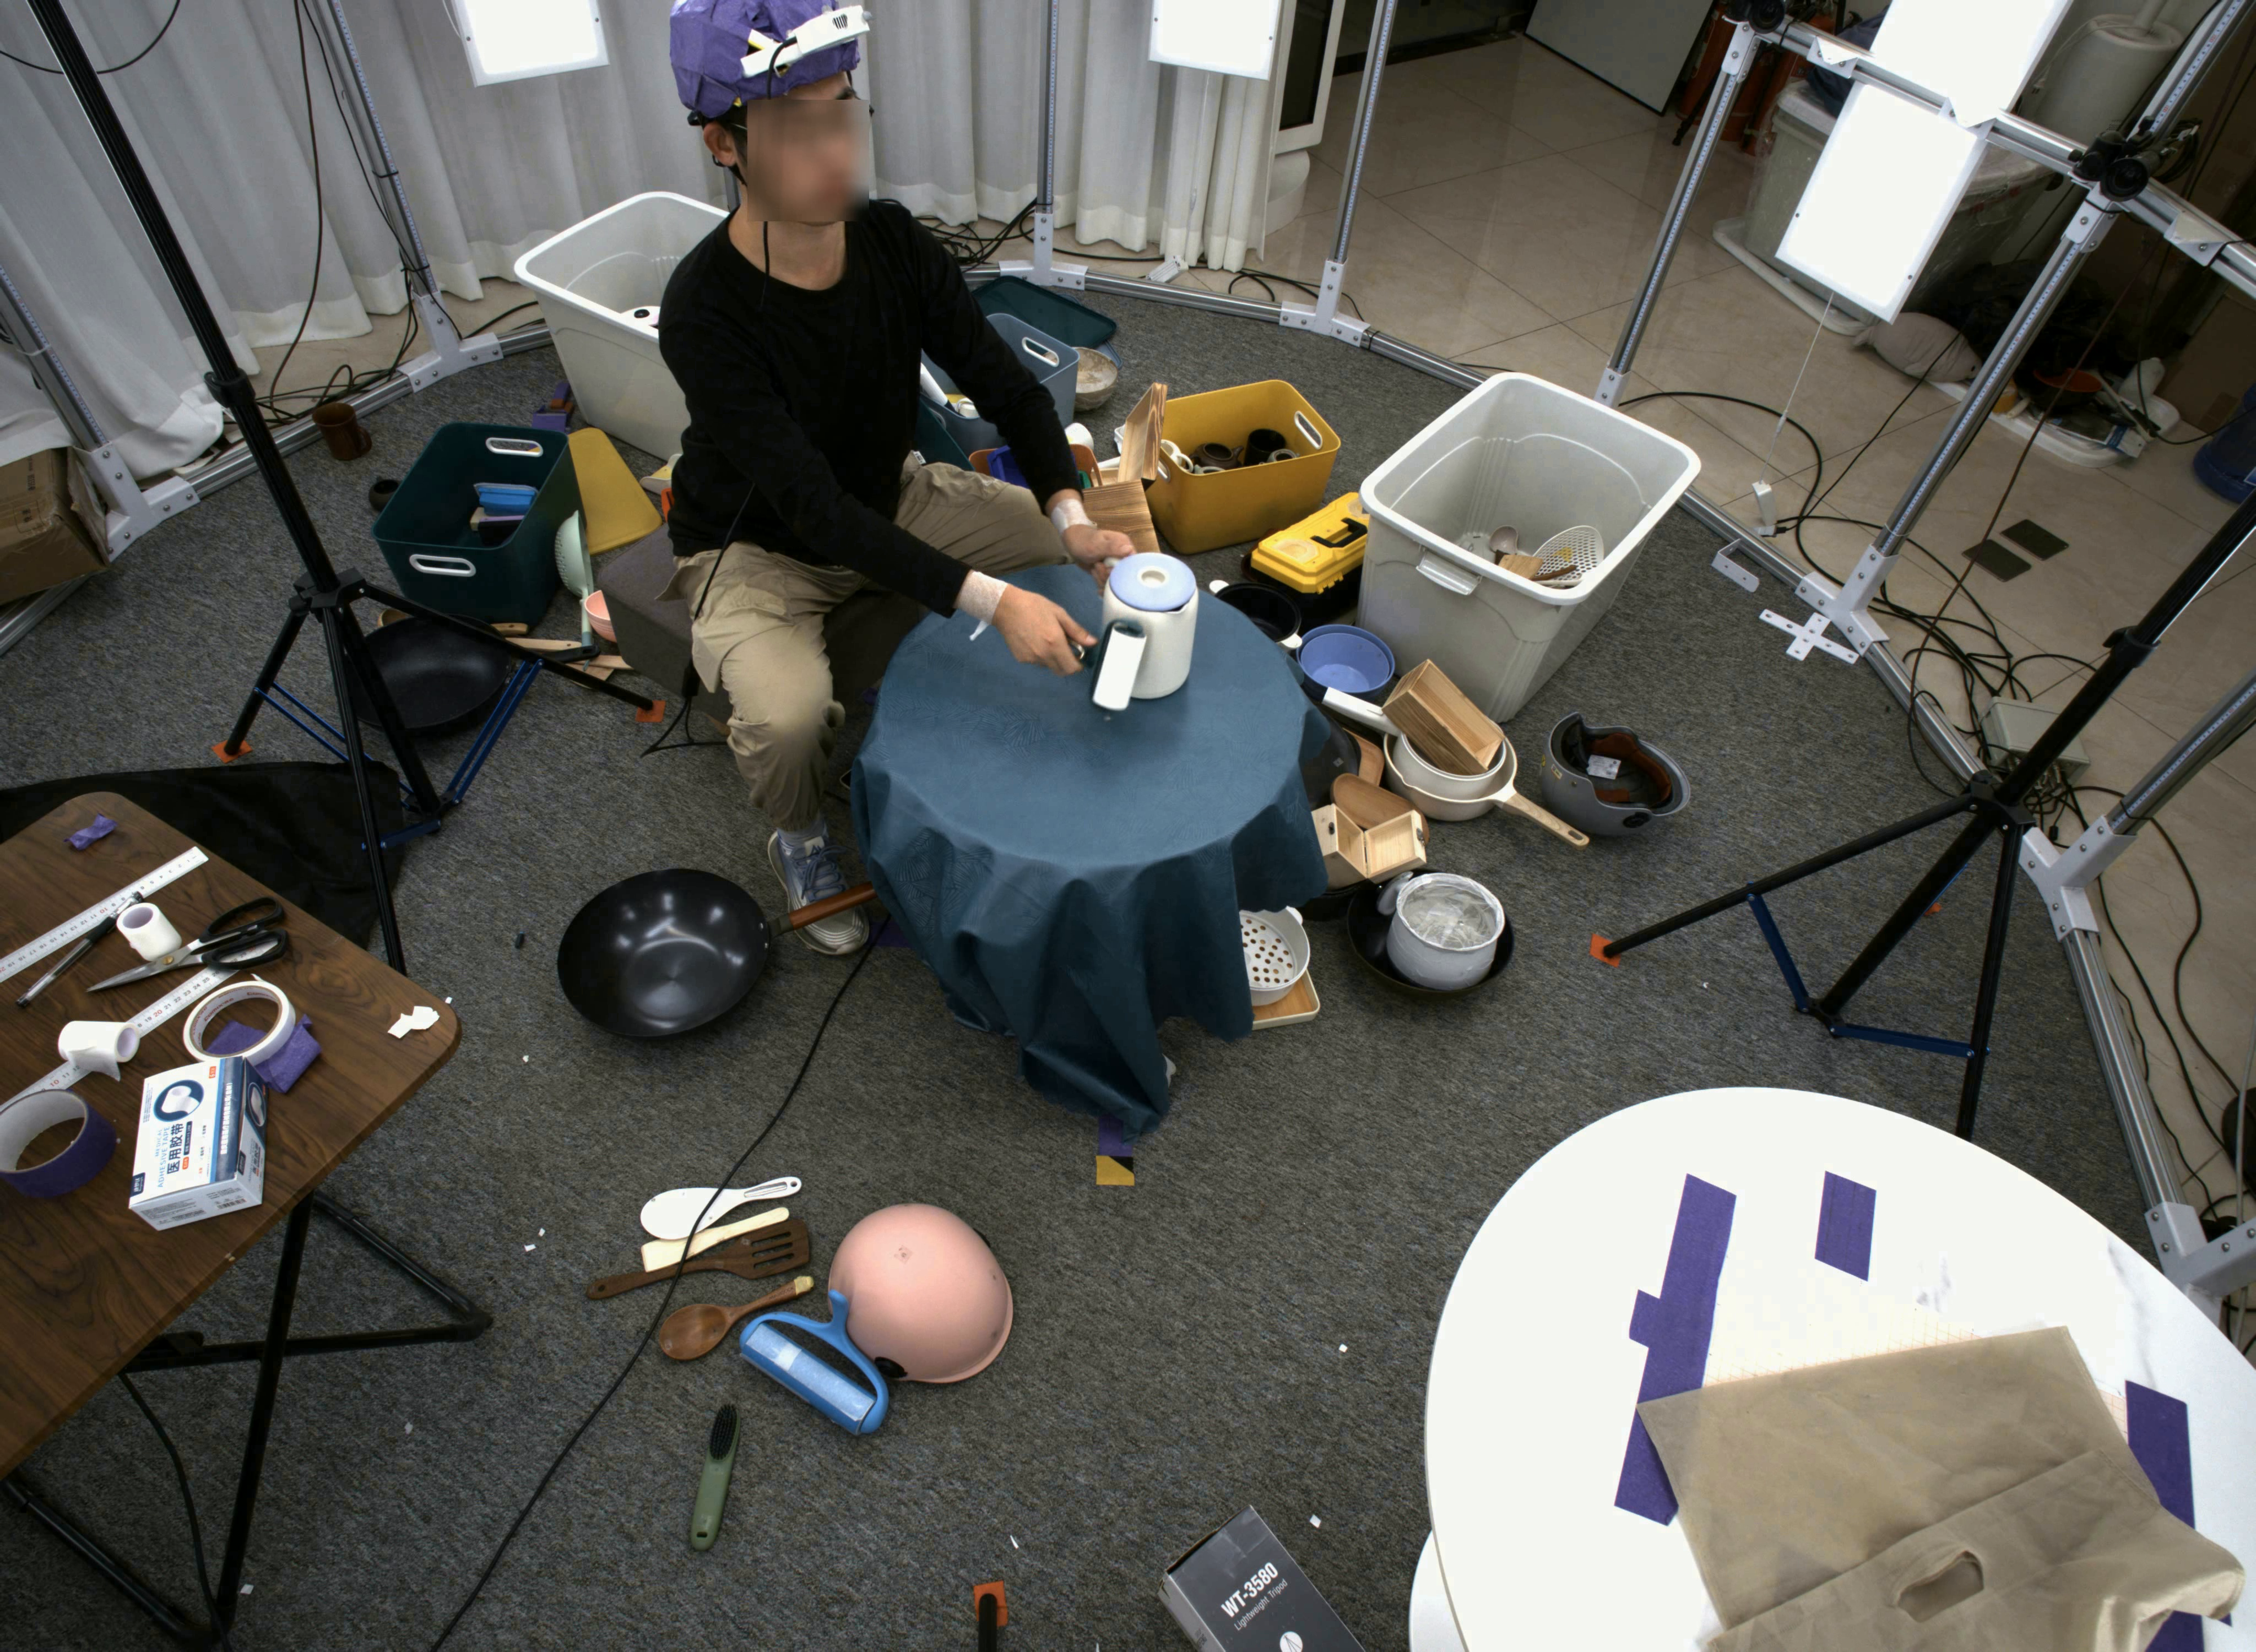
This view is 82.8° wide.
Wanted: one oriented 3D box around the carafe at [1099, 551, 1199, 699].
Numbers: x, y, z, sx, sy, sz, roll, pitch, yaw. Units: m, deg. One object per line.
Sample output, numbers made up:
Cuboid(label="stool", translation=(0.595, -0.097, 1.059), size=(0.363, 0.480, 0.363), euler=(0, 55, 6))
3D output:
Cuboid(label="carafe", translation=(0.017, -0.297, 1.818), size=(0.133, 0.178, 0.195), euler=(-23, 53, -23))

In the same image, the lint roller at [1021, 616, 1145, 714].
Cuboid(label="lint roller", translation=(-0.071, -0.237, 1.728), size=(0.181, 0.132, 0.049), euler=(20, 23, 14))
